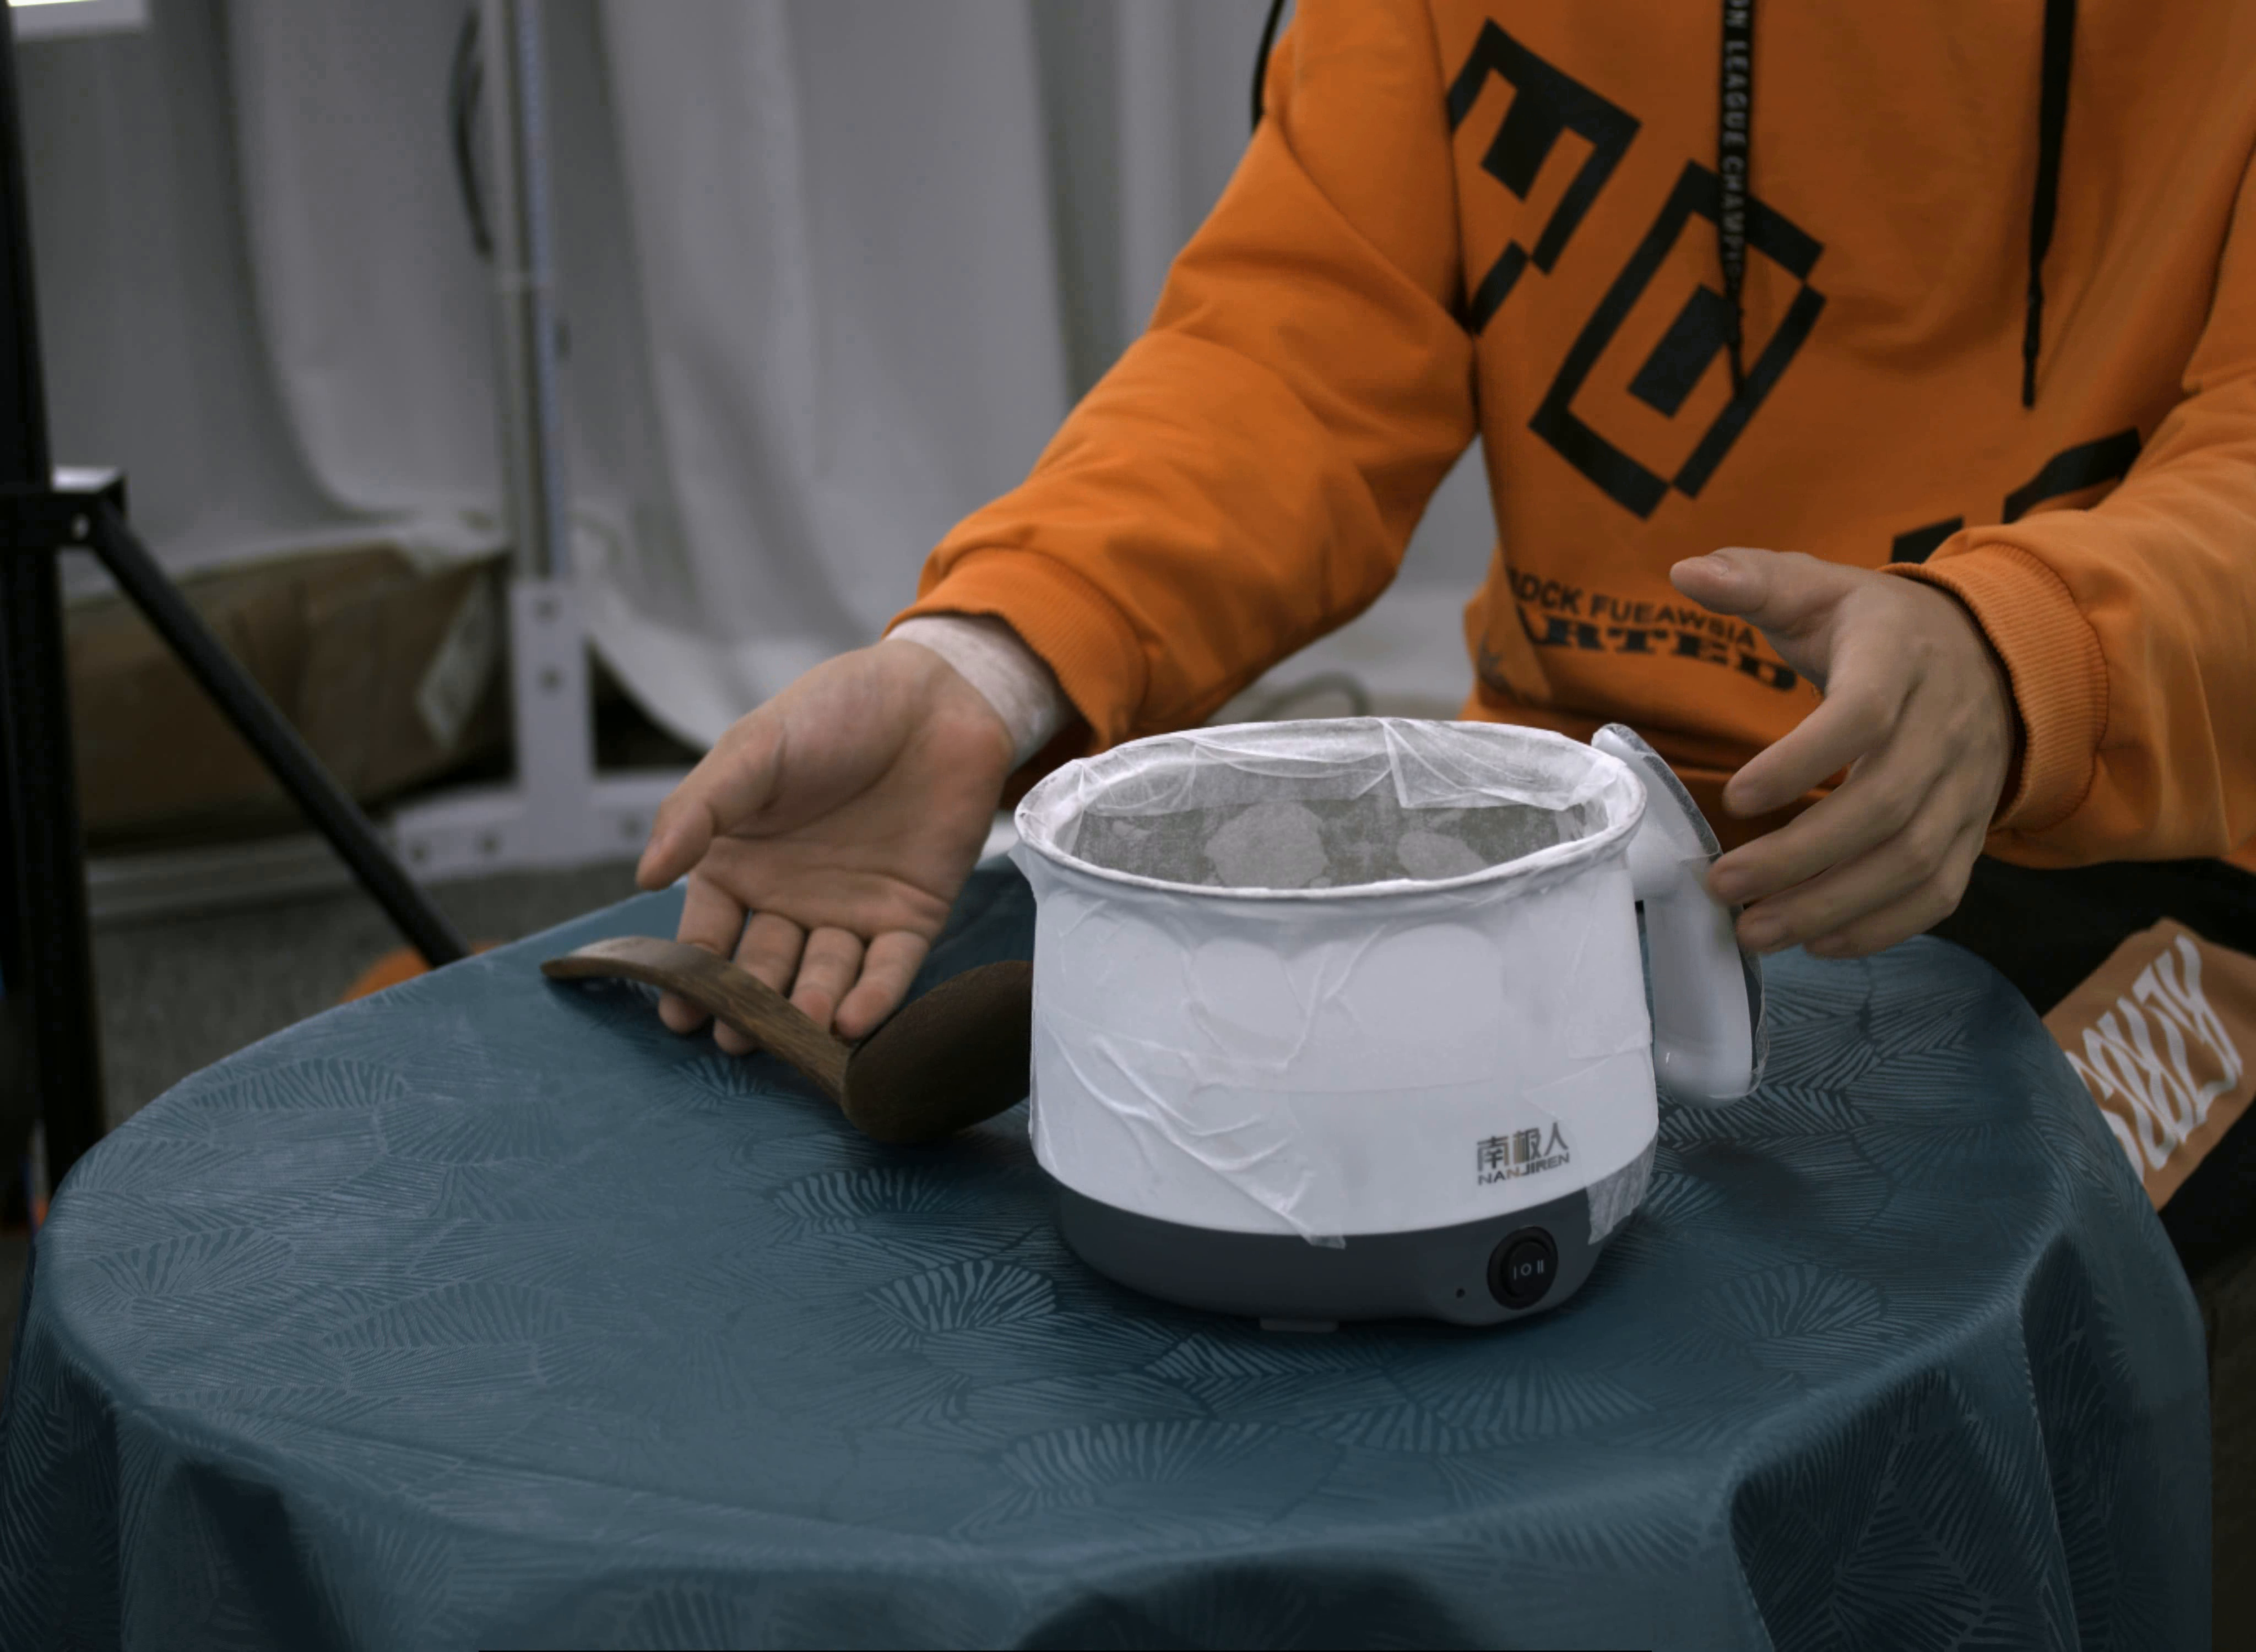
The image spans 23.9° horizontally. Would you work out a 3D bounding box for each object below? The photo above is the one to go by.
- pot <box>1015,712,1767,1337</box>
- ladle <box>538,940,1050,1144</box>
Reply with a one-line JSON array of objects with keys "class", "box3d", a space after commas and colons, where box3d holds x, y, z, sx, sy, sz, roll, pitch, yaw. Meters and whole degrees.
[{"class": "pot", "box3d": [0.082, 0.049, 1.501, 0.228, 0.136, 0.183, -13, 19, -30]}, {"class": "ladle", "box3d": [-0.114, 0.044, 1.675, 0.074, 0.071, 0.280, -11, 19, -31]}]
